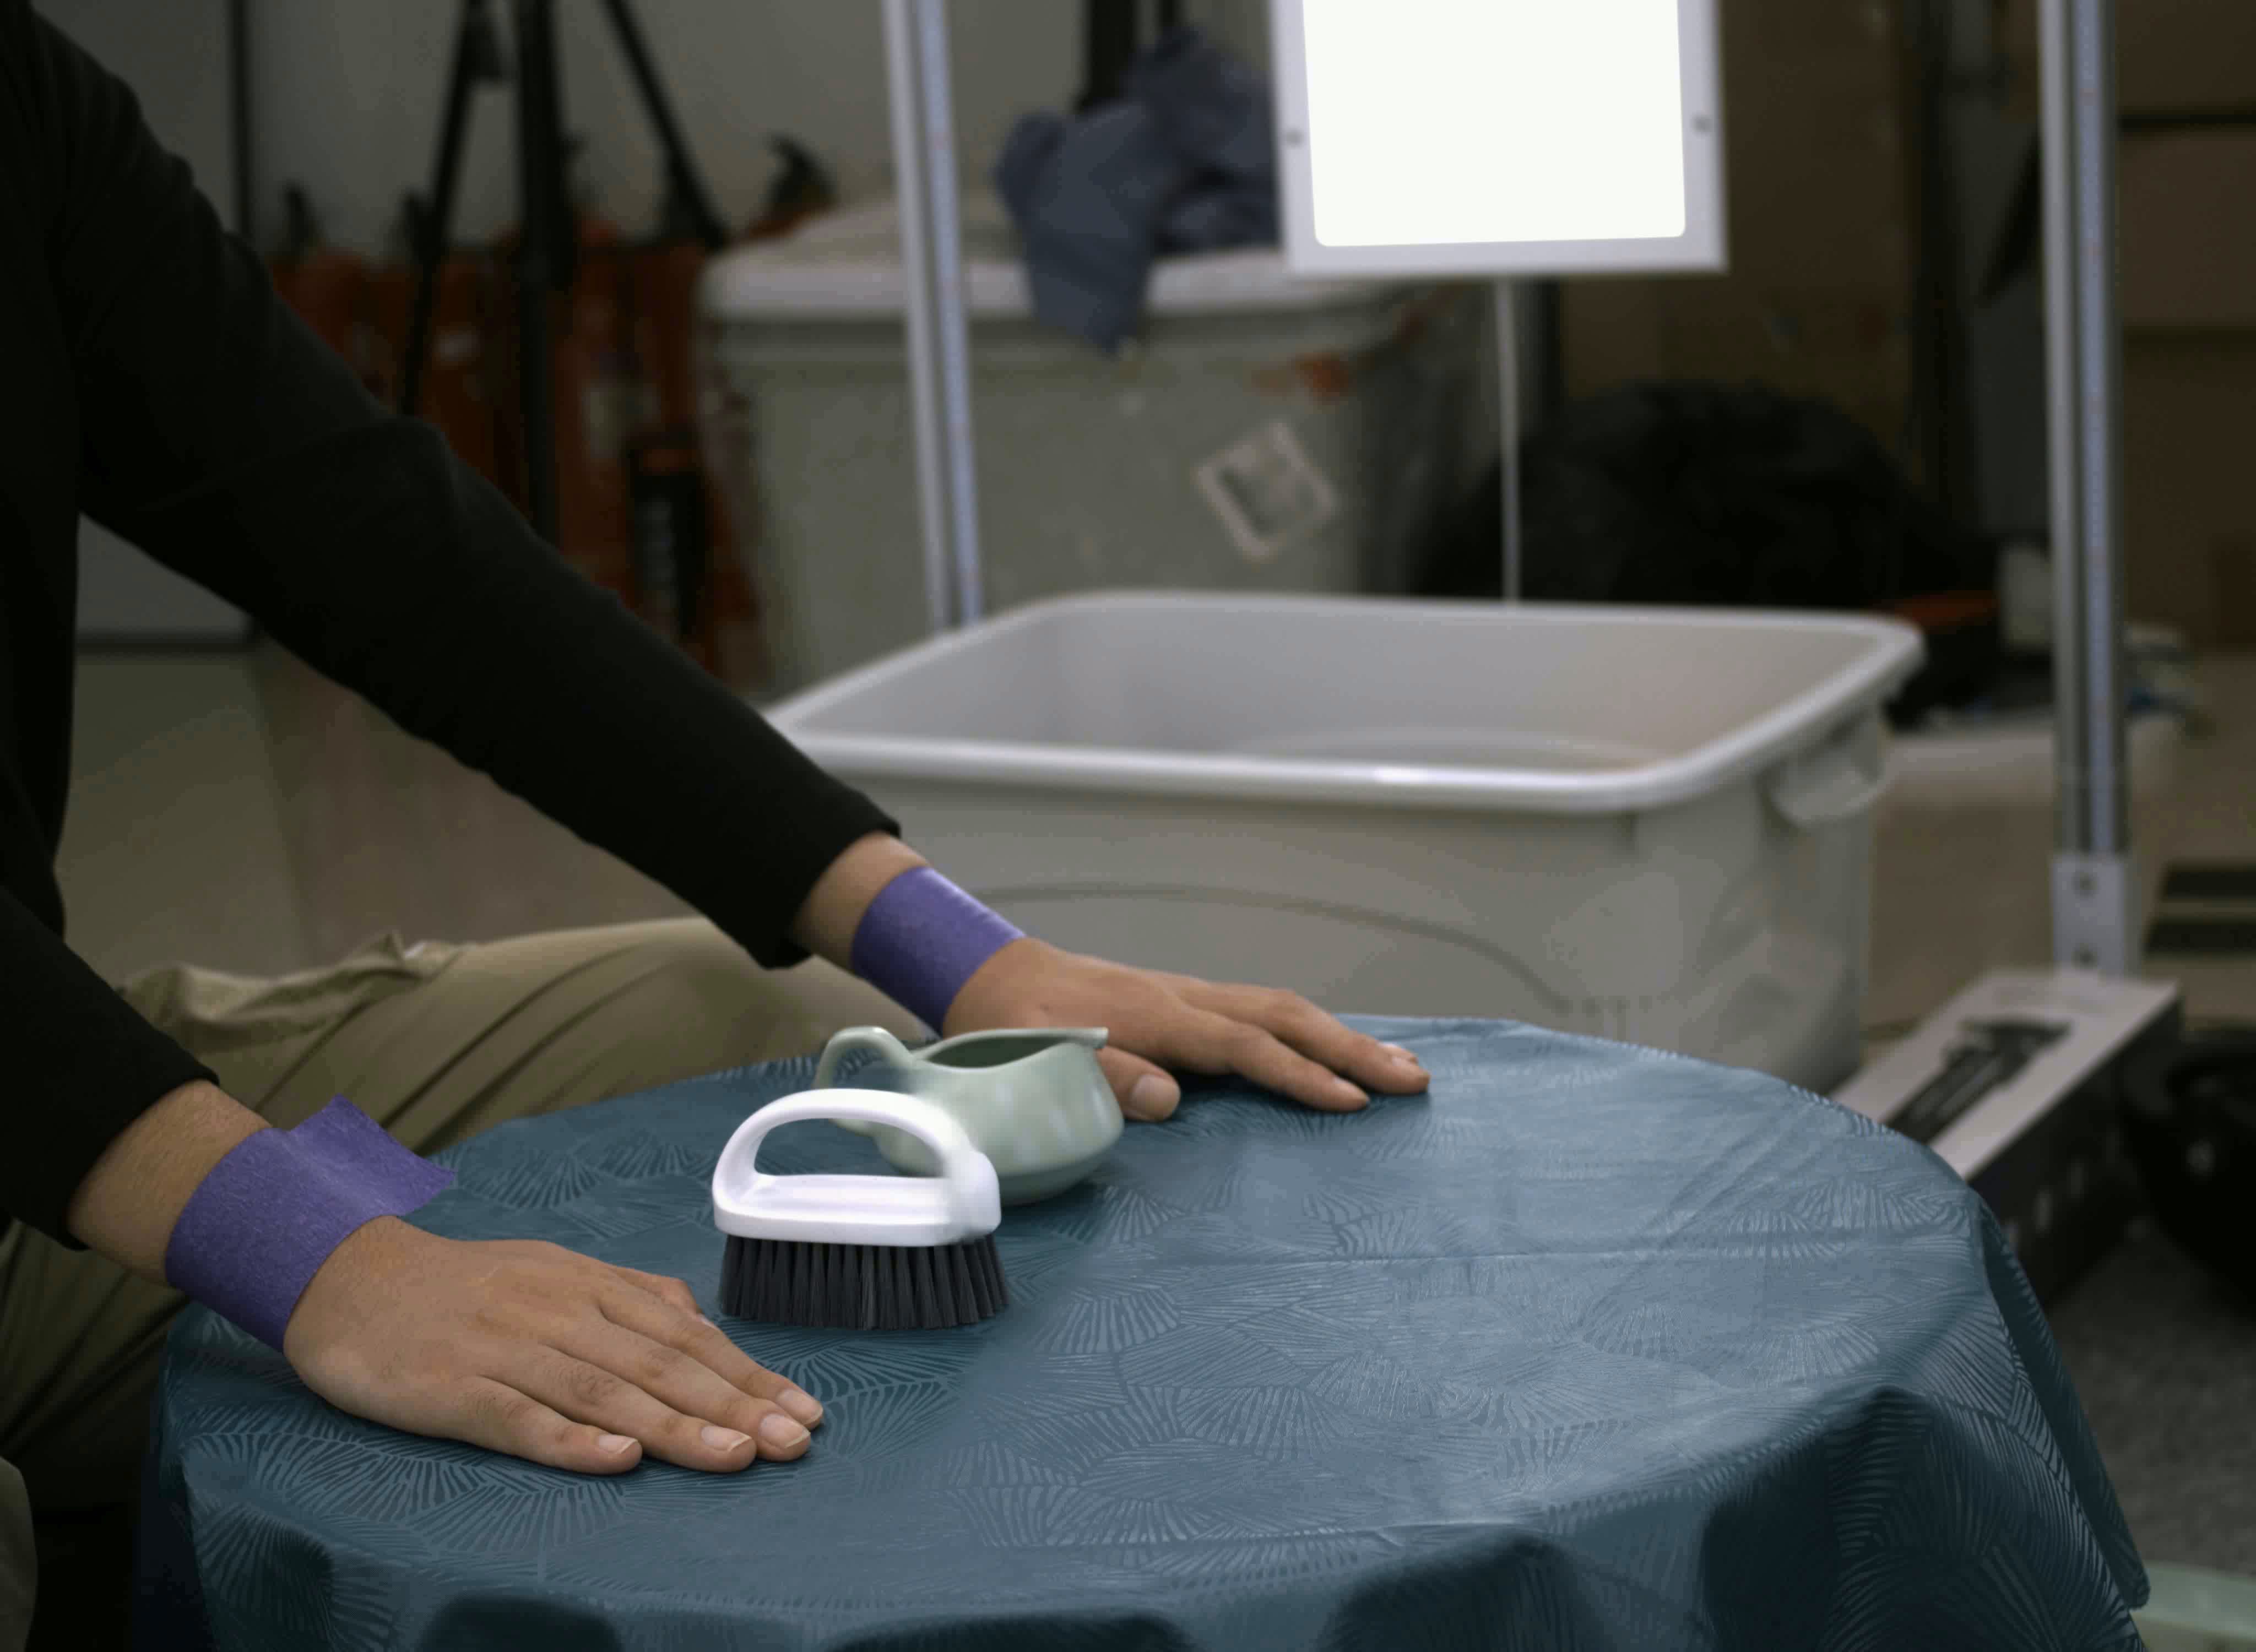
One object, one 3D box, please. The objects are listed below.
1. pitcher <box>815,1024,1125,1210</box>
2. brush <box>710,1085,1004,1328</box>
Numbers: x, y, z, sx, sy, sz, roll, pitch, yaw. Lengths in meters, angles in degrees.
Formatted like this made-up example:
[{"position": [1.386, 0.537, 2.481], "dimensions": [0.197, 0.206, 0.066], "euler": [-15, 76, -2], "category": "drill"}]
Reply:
[{"position": [-0.056, 0.100, 1.911], "dimensions": [0.109, 0.060, 0.085], "euler": [-5, 13, 11], "category": "pitcher"}, {"position": [-0.090, 0.121, 1.797], "dimensions": [0.101, 0.073, 0.049], "euler": [3, 14, 25], "category": "brush"}]
